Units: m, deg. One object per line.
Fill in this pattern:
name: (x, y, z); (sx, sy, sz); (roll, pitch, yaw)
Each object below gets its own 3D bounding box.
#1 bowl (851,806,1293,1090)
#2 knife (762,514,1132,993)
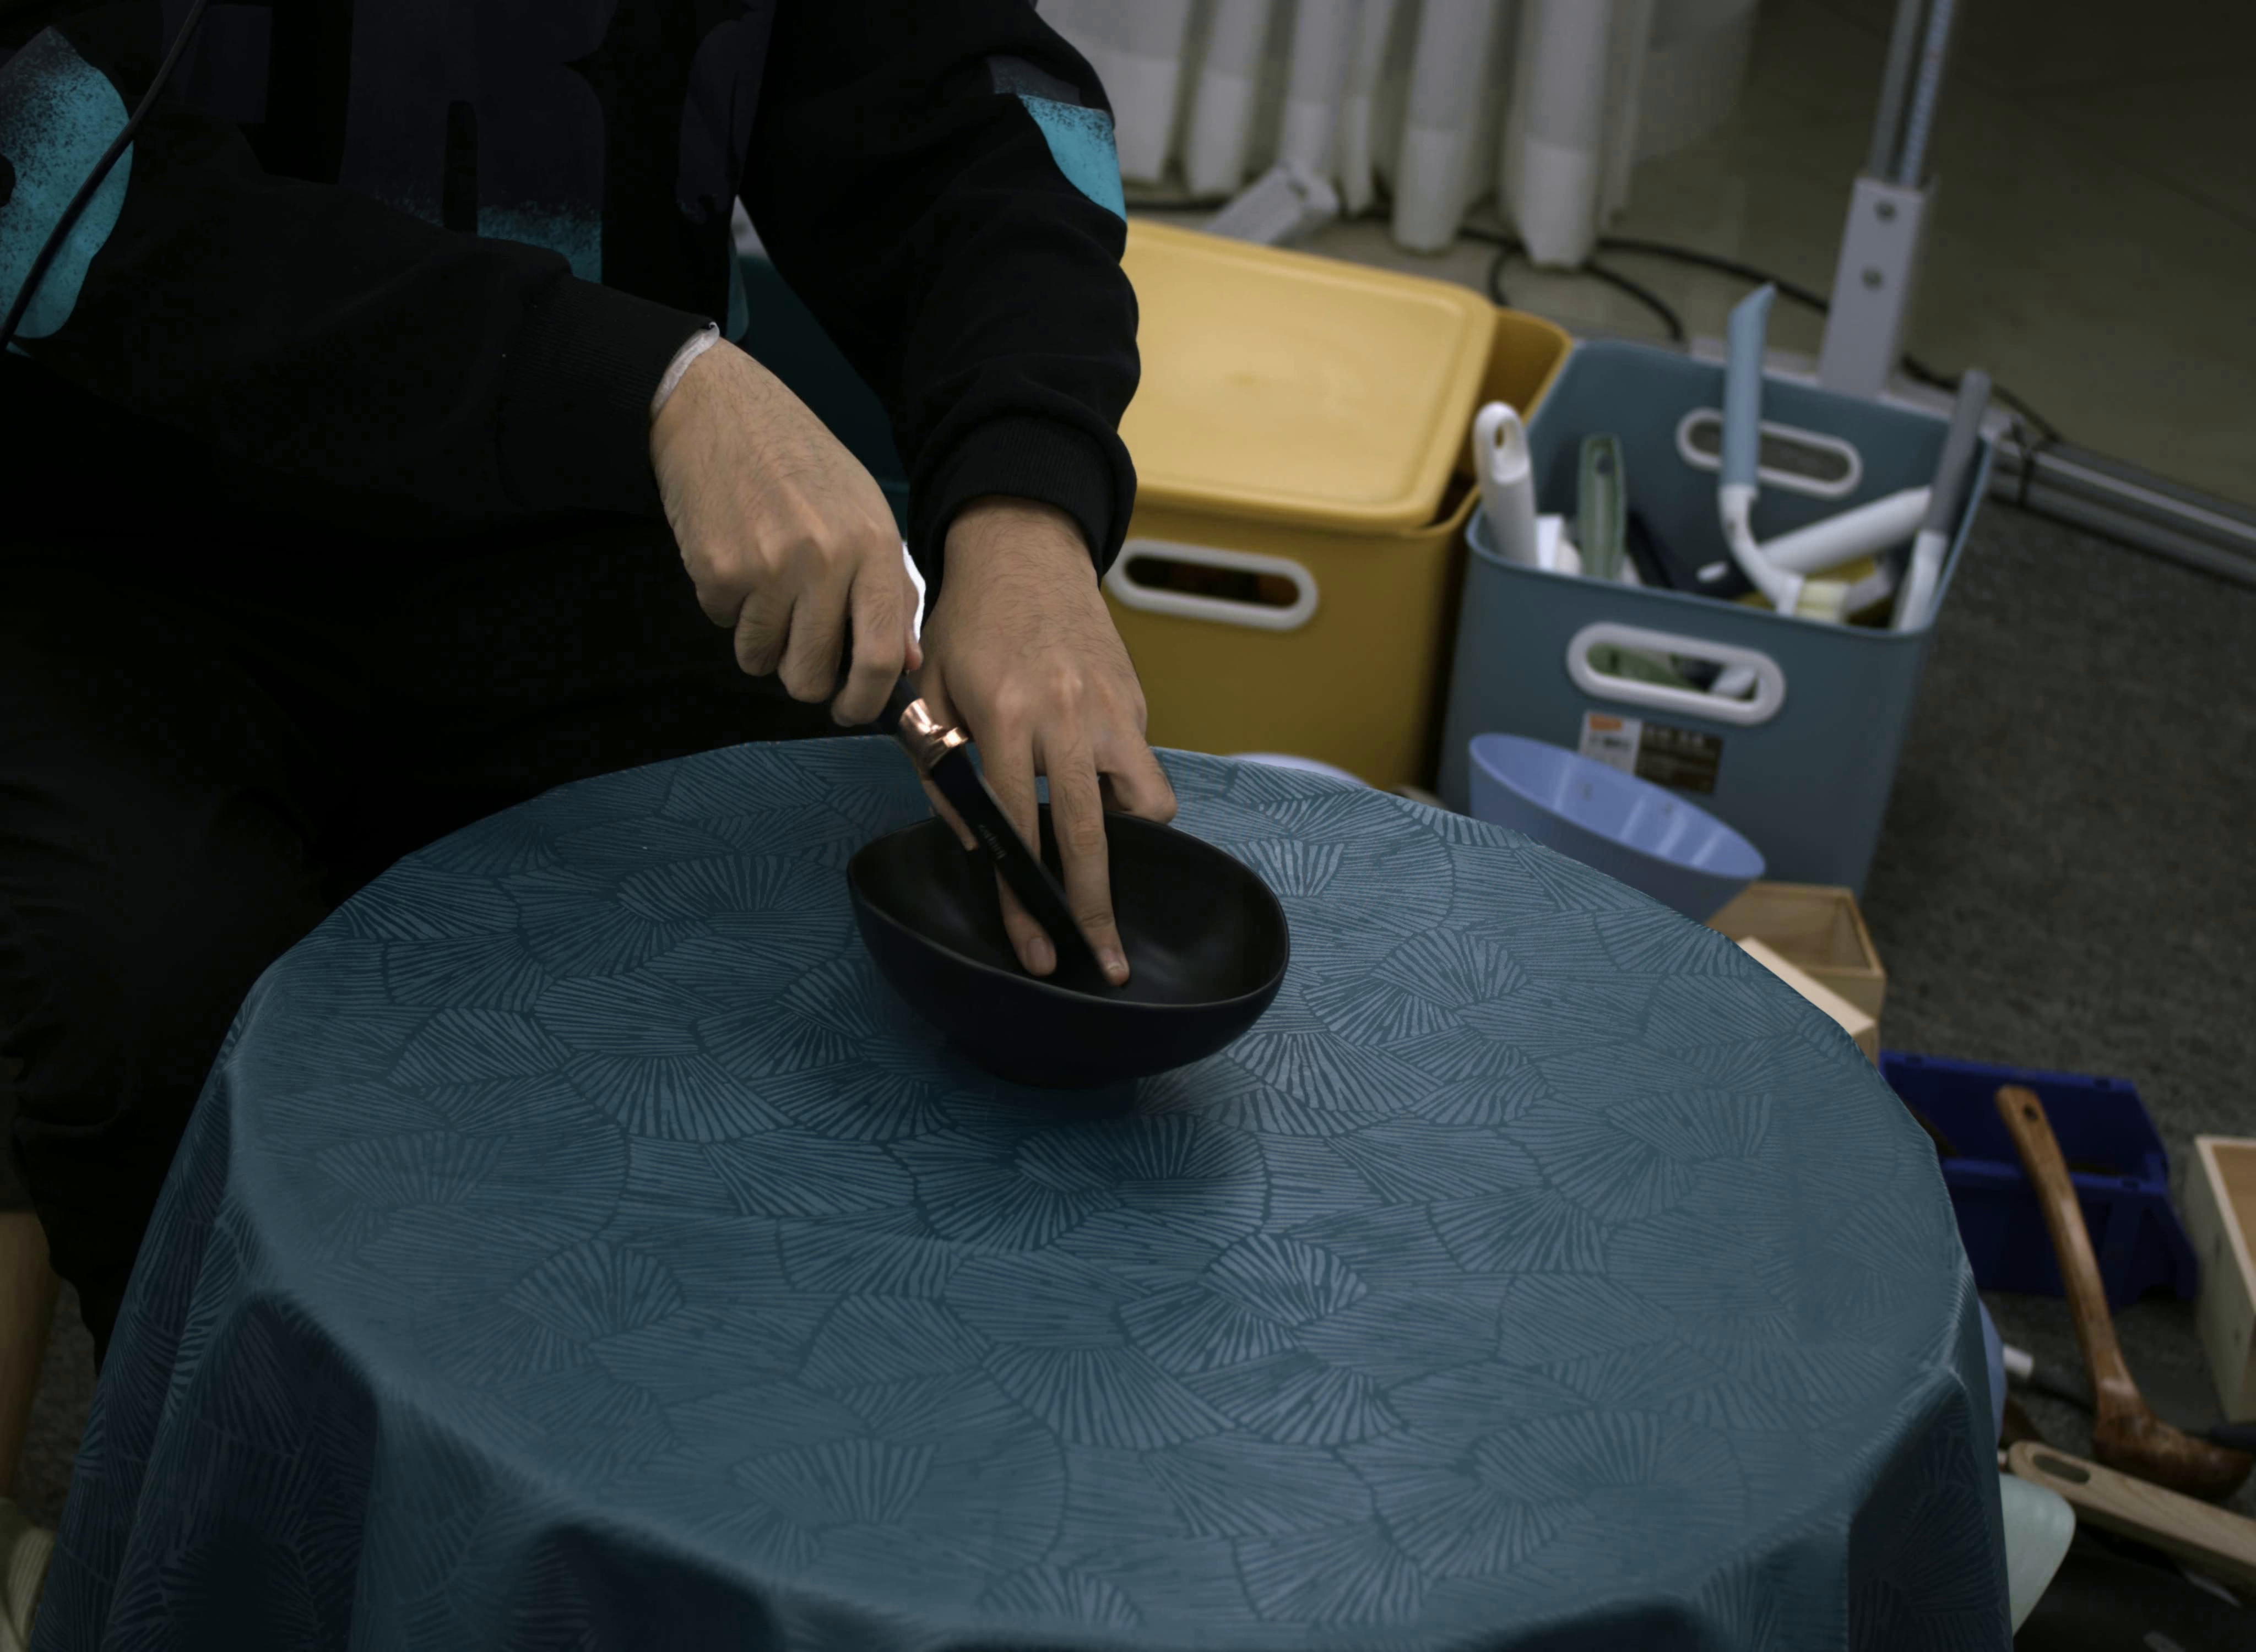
bowl: (-0.024, 0.050, 1.870); (0.171, 0.066, 0.137); (22, 30, 31)
knife: (-0.063, -0.021, 1.885); (0.017, 0.026, 0.226); (-23, 72, -40)
